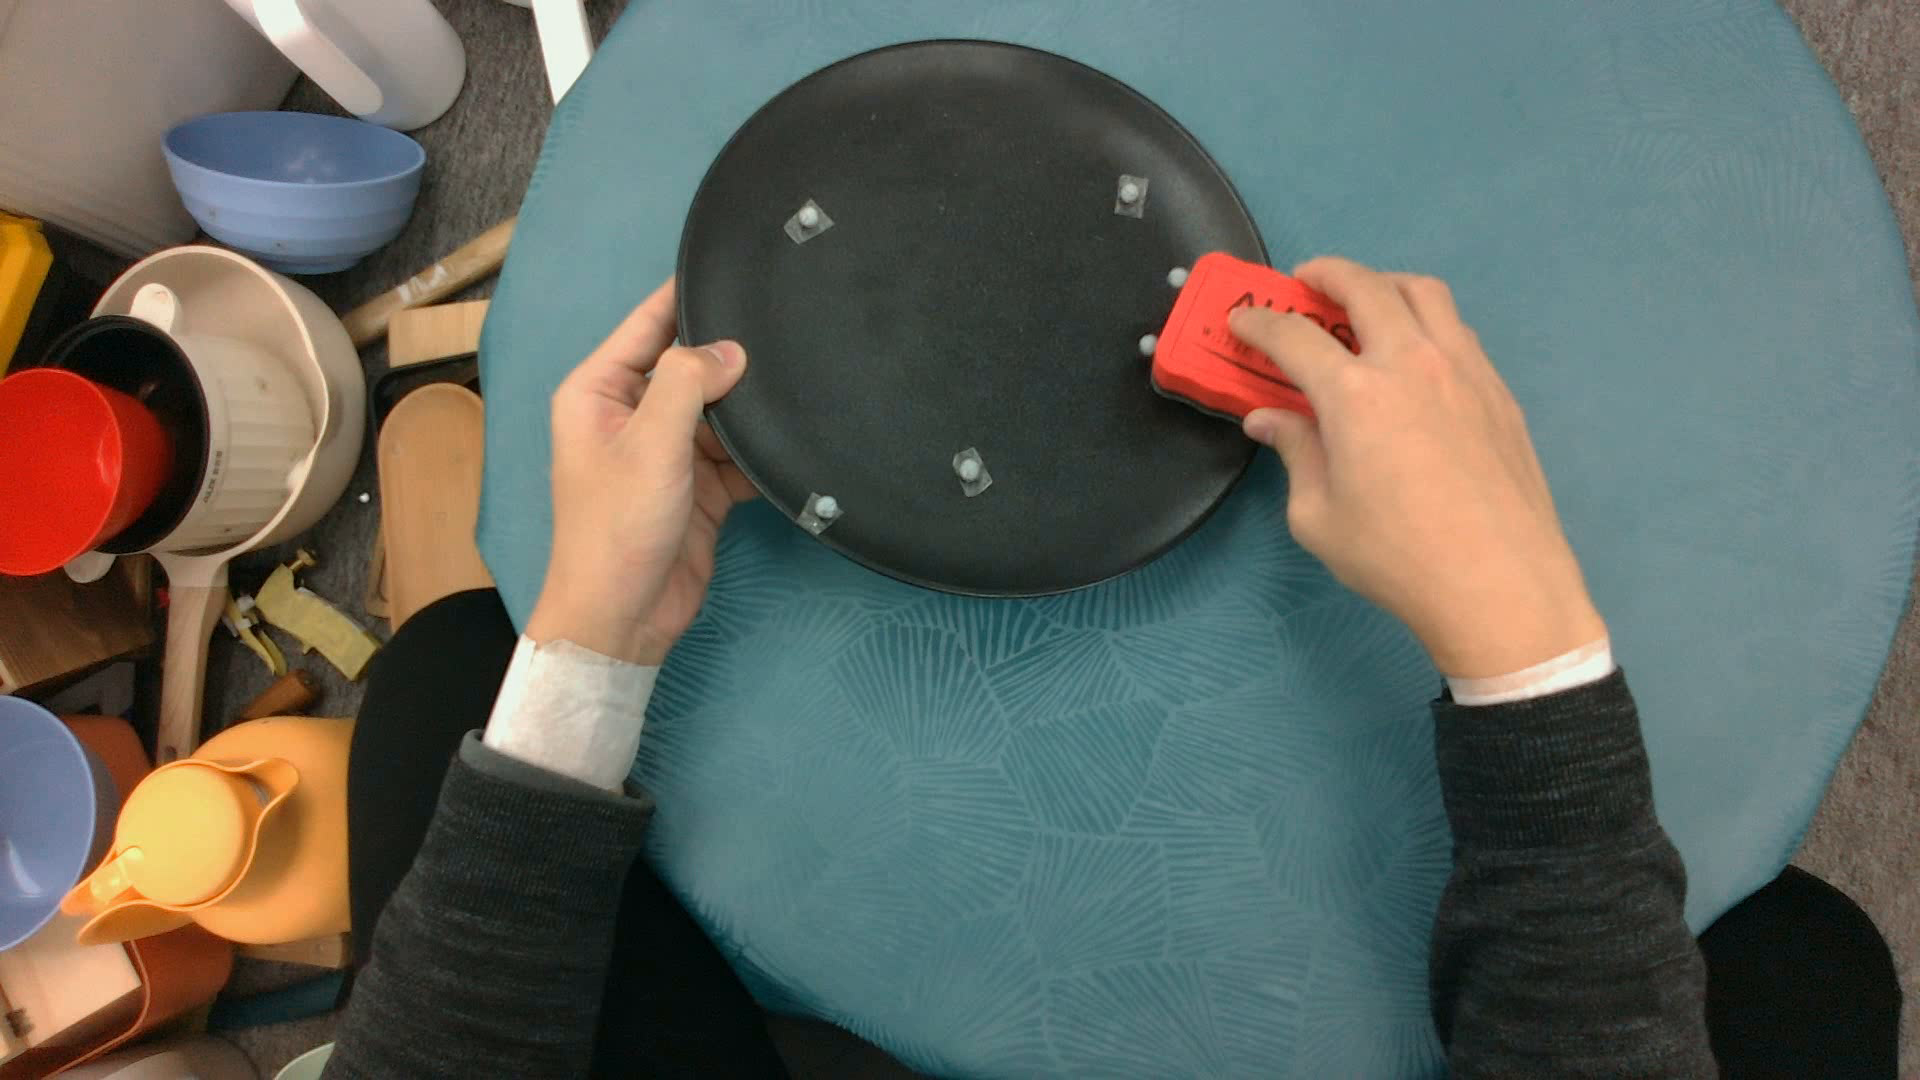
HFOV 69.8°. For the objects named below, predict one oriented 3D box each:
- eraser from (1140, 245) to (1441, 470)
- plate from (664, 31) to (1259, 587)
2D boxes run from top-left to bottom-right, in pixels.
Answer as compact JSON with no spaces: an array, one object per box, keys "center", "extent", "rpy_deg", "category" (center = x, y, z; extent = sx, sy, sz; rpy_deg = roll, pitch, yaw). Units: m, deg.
[{"center":[0.129,-0.073,0.545],"extent":[0.108,0.023,0.059],"rpy_deg":[23,74,11],"category":"eraser"},{"center":[0.005,-0.096,0.554],"extent":[0.244,0.023,0.245],"rpy_deg":[3,72,-9],"category":"plate"}]
